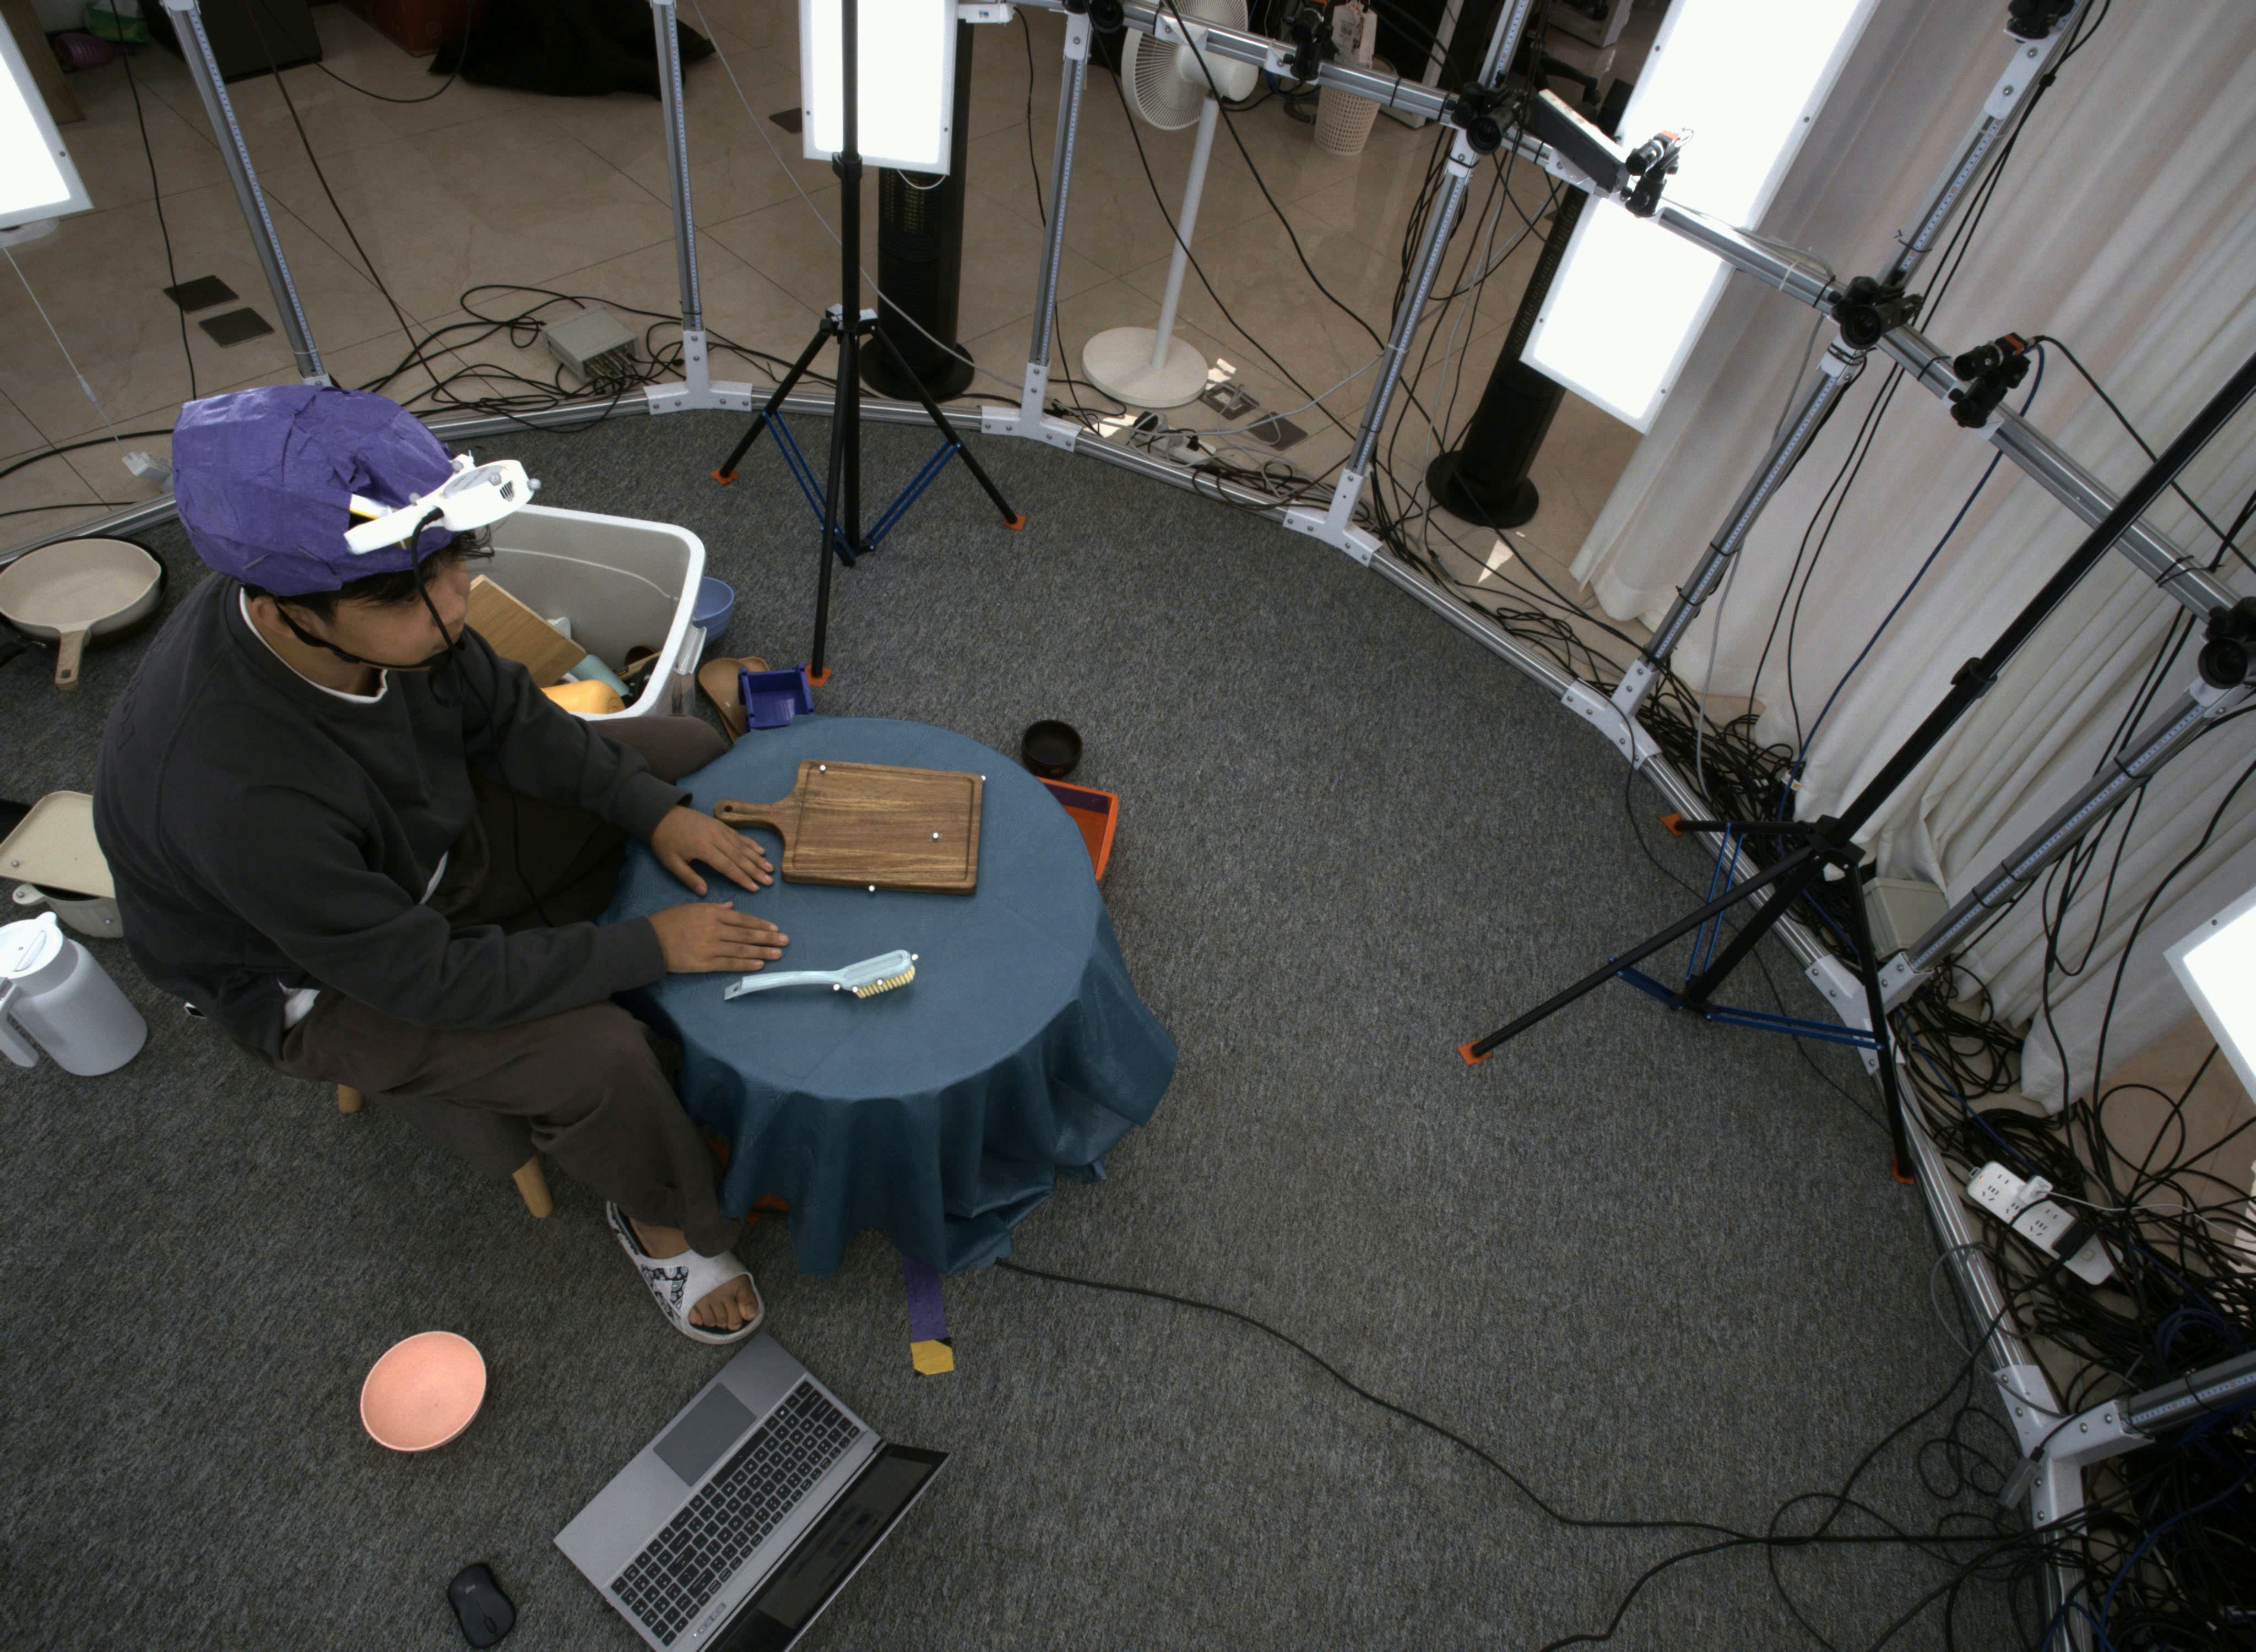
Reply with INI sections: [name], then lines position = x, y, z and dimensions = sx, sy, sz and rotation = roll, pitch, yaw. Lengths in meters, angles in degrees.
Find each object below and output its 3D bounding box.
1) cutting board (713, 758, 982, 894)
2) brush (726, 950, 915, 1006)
[cutting board]
position = -0.371, -0.007, 1.726
dimensions = 0.352, 0.023, 0.197
rotation = 5, 53, -10
[brush]
position = -0.371, 0.190, 1.570
dimensions = 0.228, 0.051, 0.036
rotation = -9, 43, -11
